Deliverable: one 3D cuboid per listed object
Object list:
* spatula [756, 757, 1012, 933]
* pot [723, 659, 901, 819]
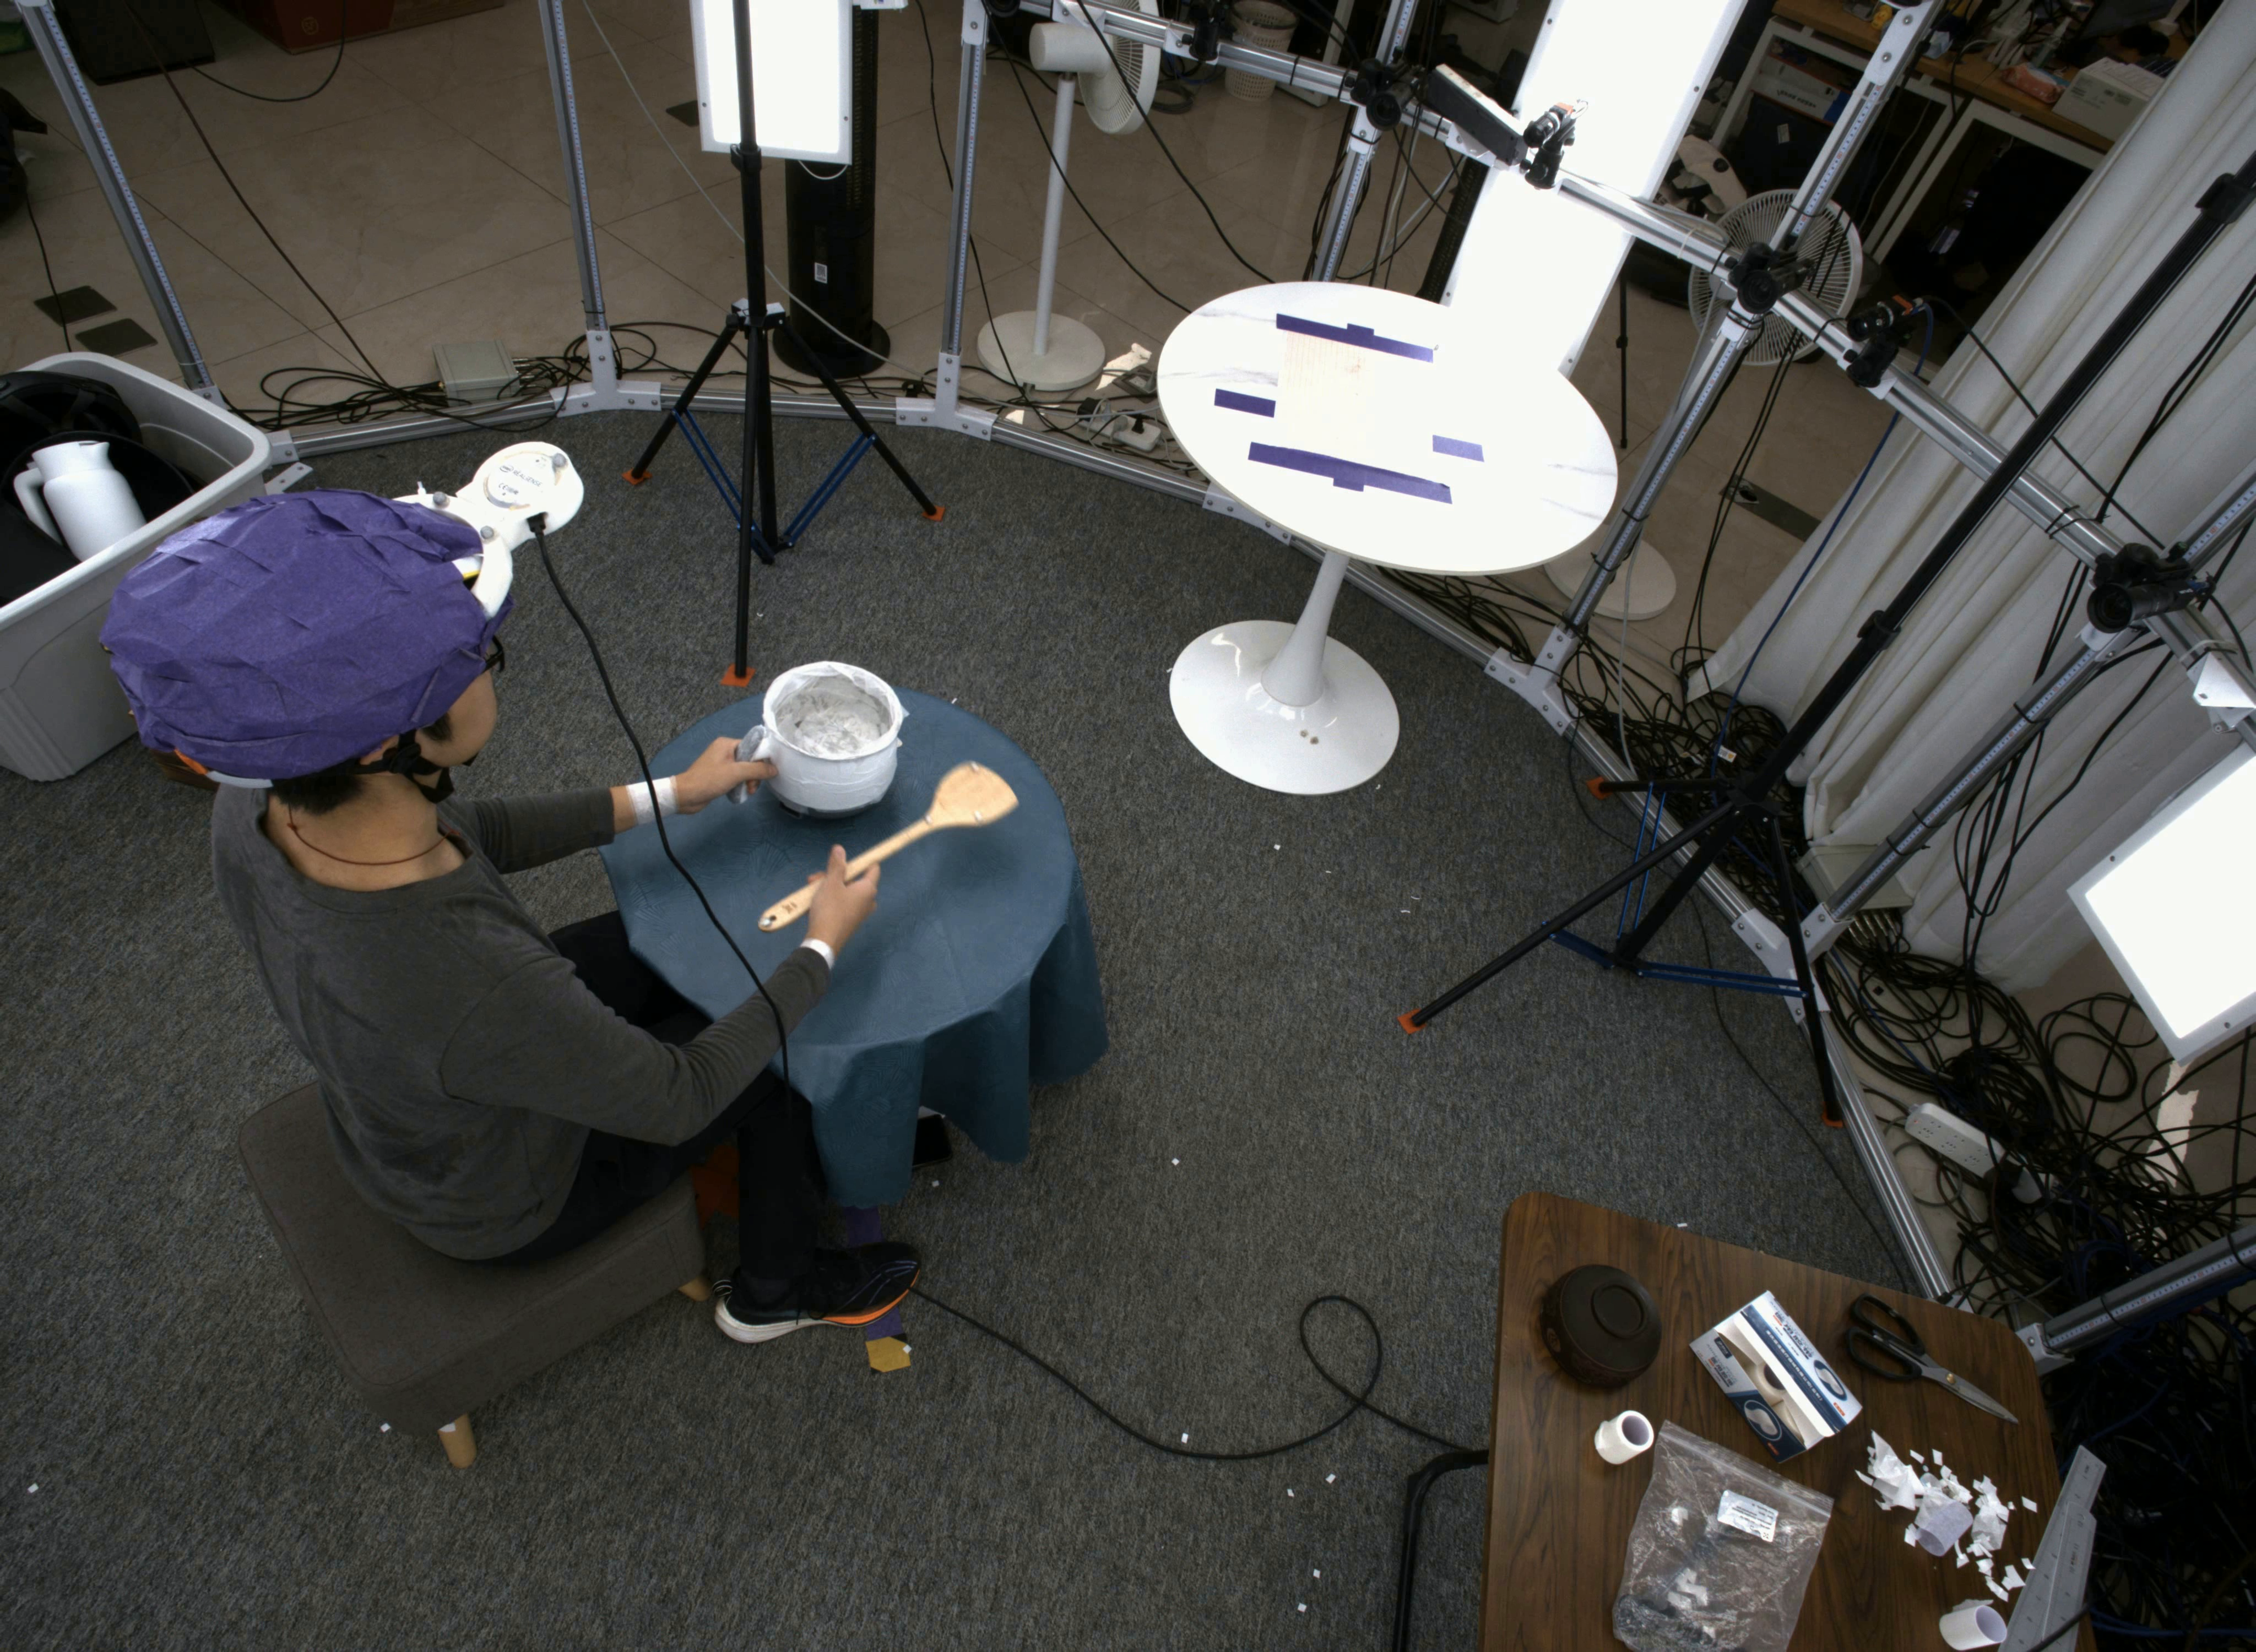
[{"bbox_3d":[-0.299,0.024,1.606,0.093,0.019,0.391,39,49,16],"label":"spatula"},{"bbox_3d":[-0.417,-0.102,1.698,0.235,0.139,0.174,-22,60,-33],"label":"pot"}]
